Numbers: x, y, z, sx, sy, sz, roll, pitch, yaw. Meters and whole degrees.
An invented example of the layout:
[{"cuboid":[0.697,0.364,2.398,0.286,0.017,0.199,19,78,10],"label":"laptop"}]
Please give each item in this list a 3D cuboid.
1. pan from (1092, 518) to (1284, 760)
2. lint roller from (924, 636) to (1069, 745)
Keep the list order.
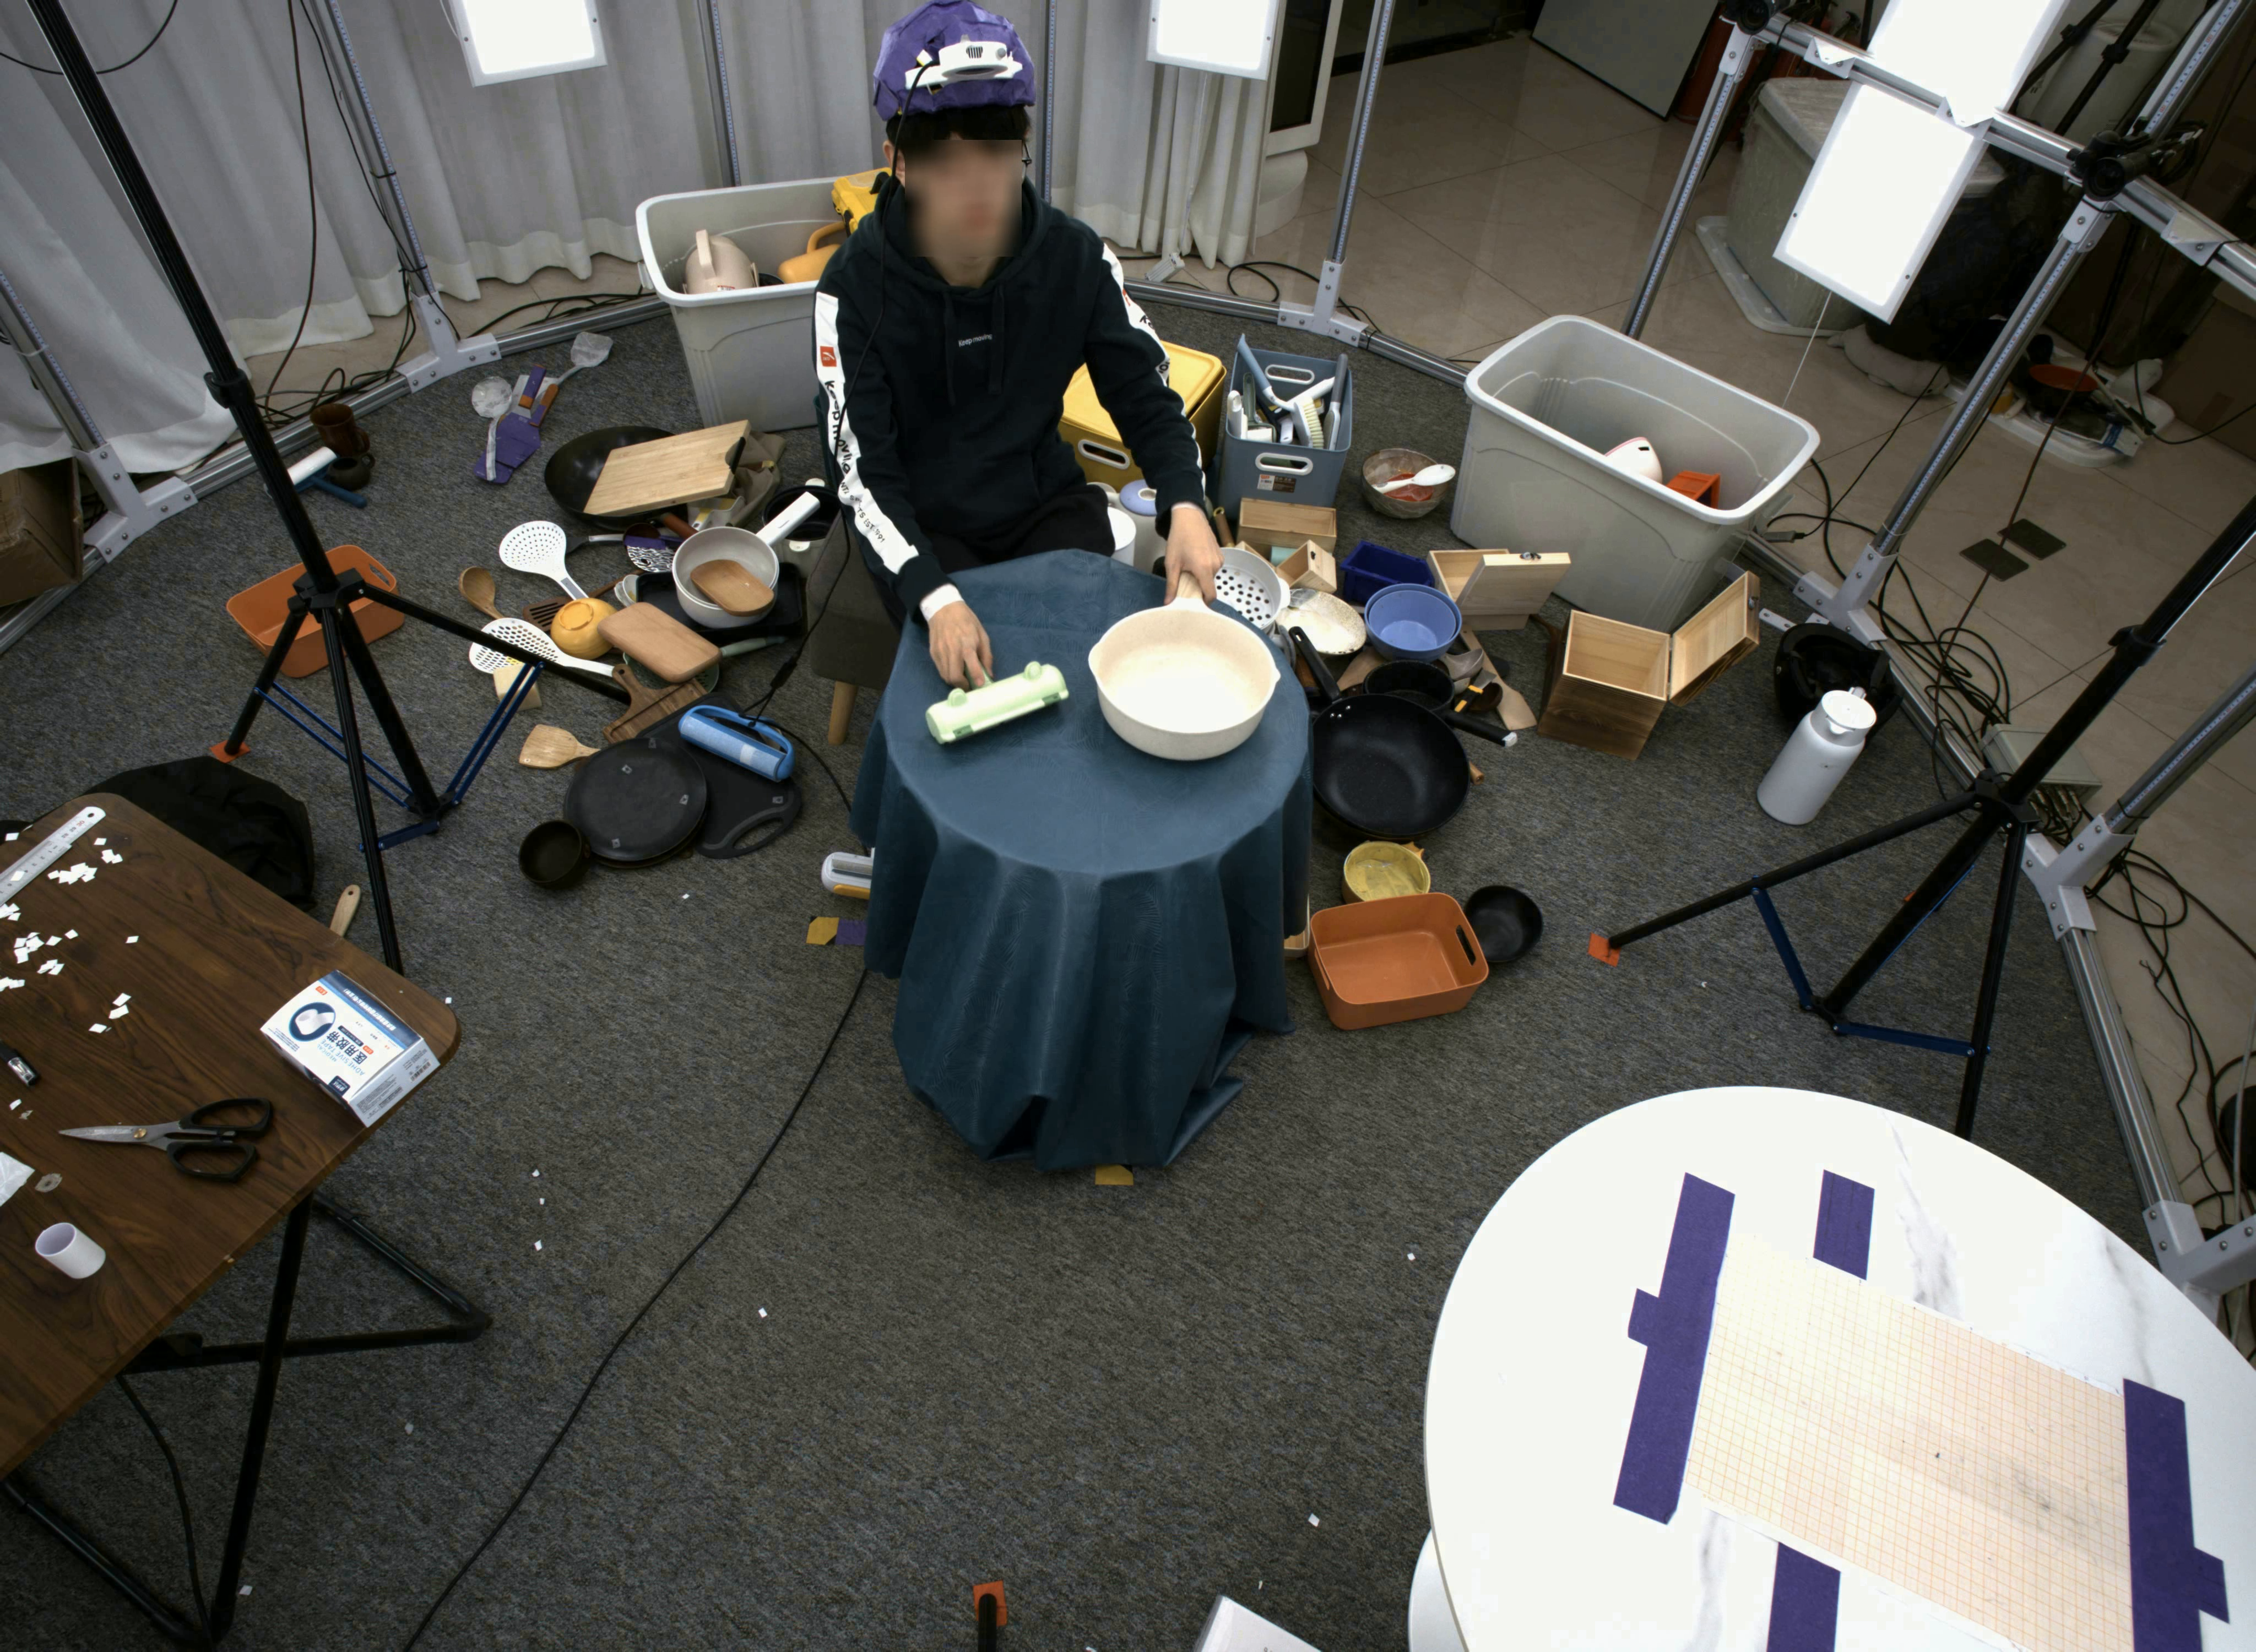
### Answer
[{"cuboid":[0.087,-0.268,1.842,0.263,0.099,0.445,3,49,1],"label":"pan"},{"cuboid":[-0.206,-0.213,1.780,0.199,0.080,0.186,-23,64,-22],"label":"lint roller"}]
